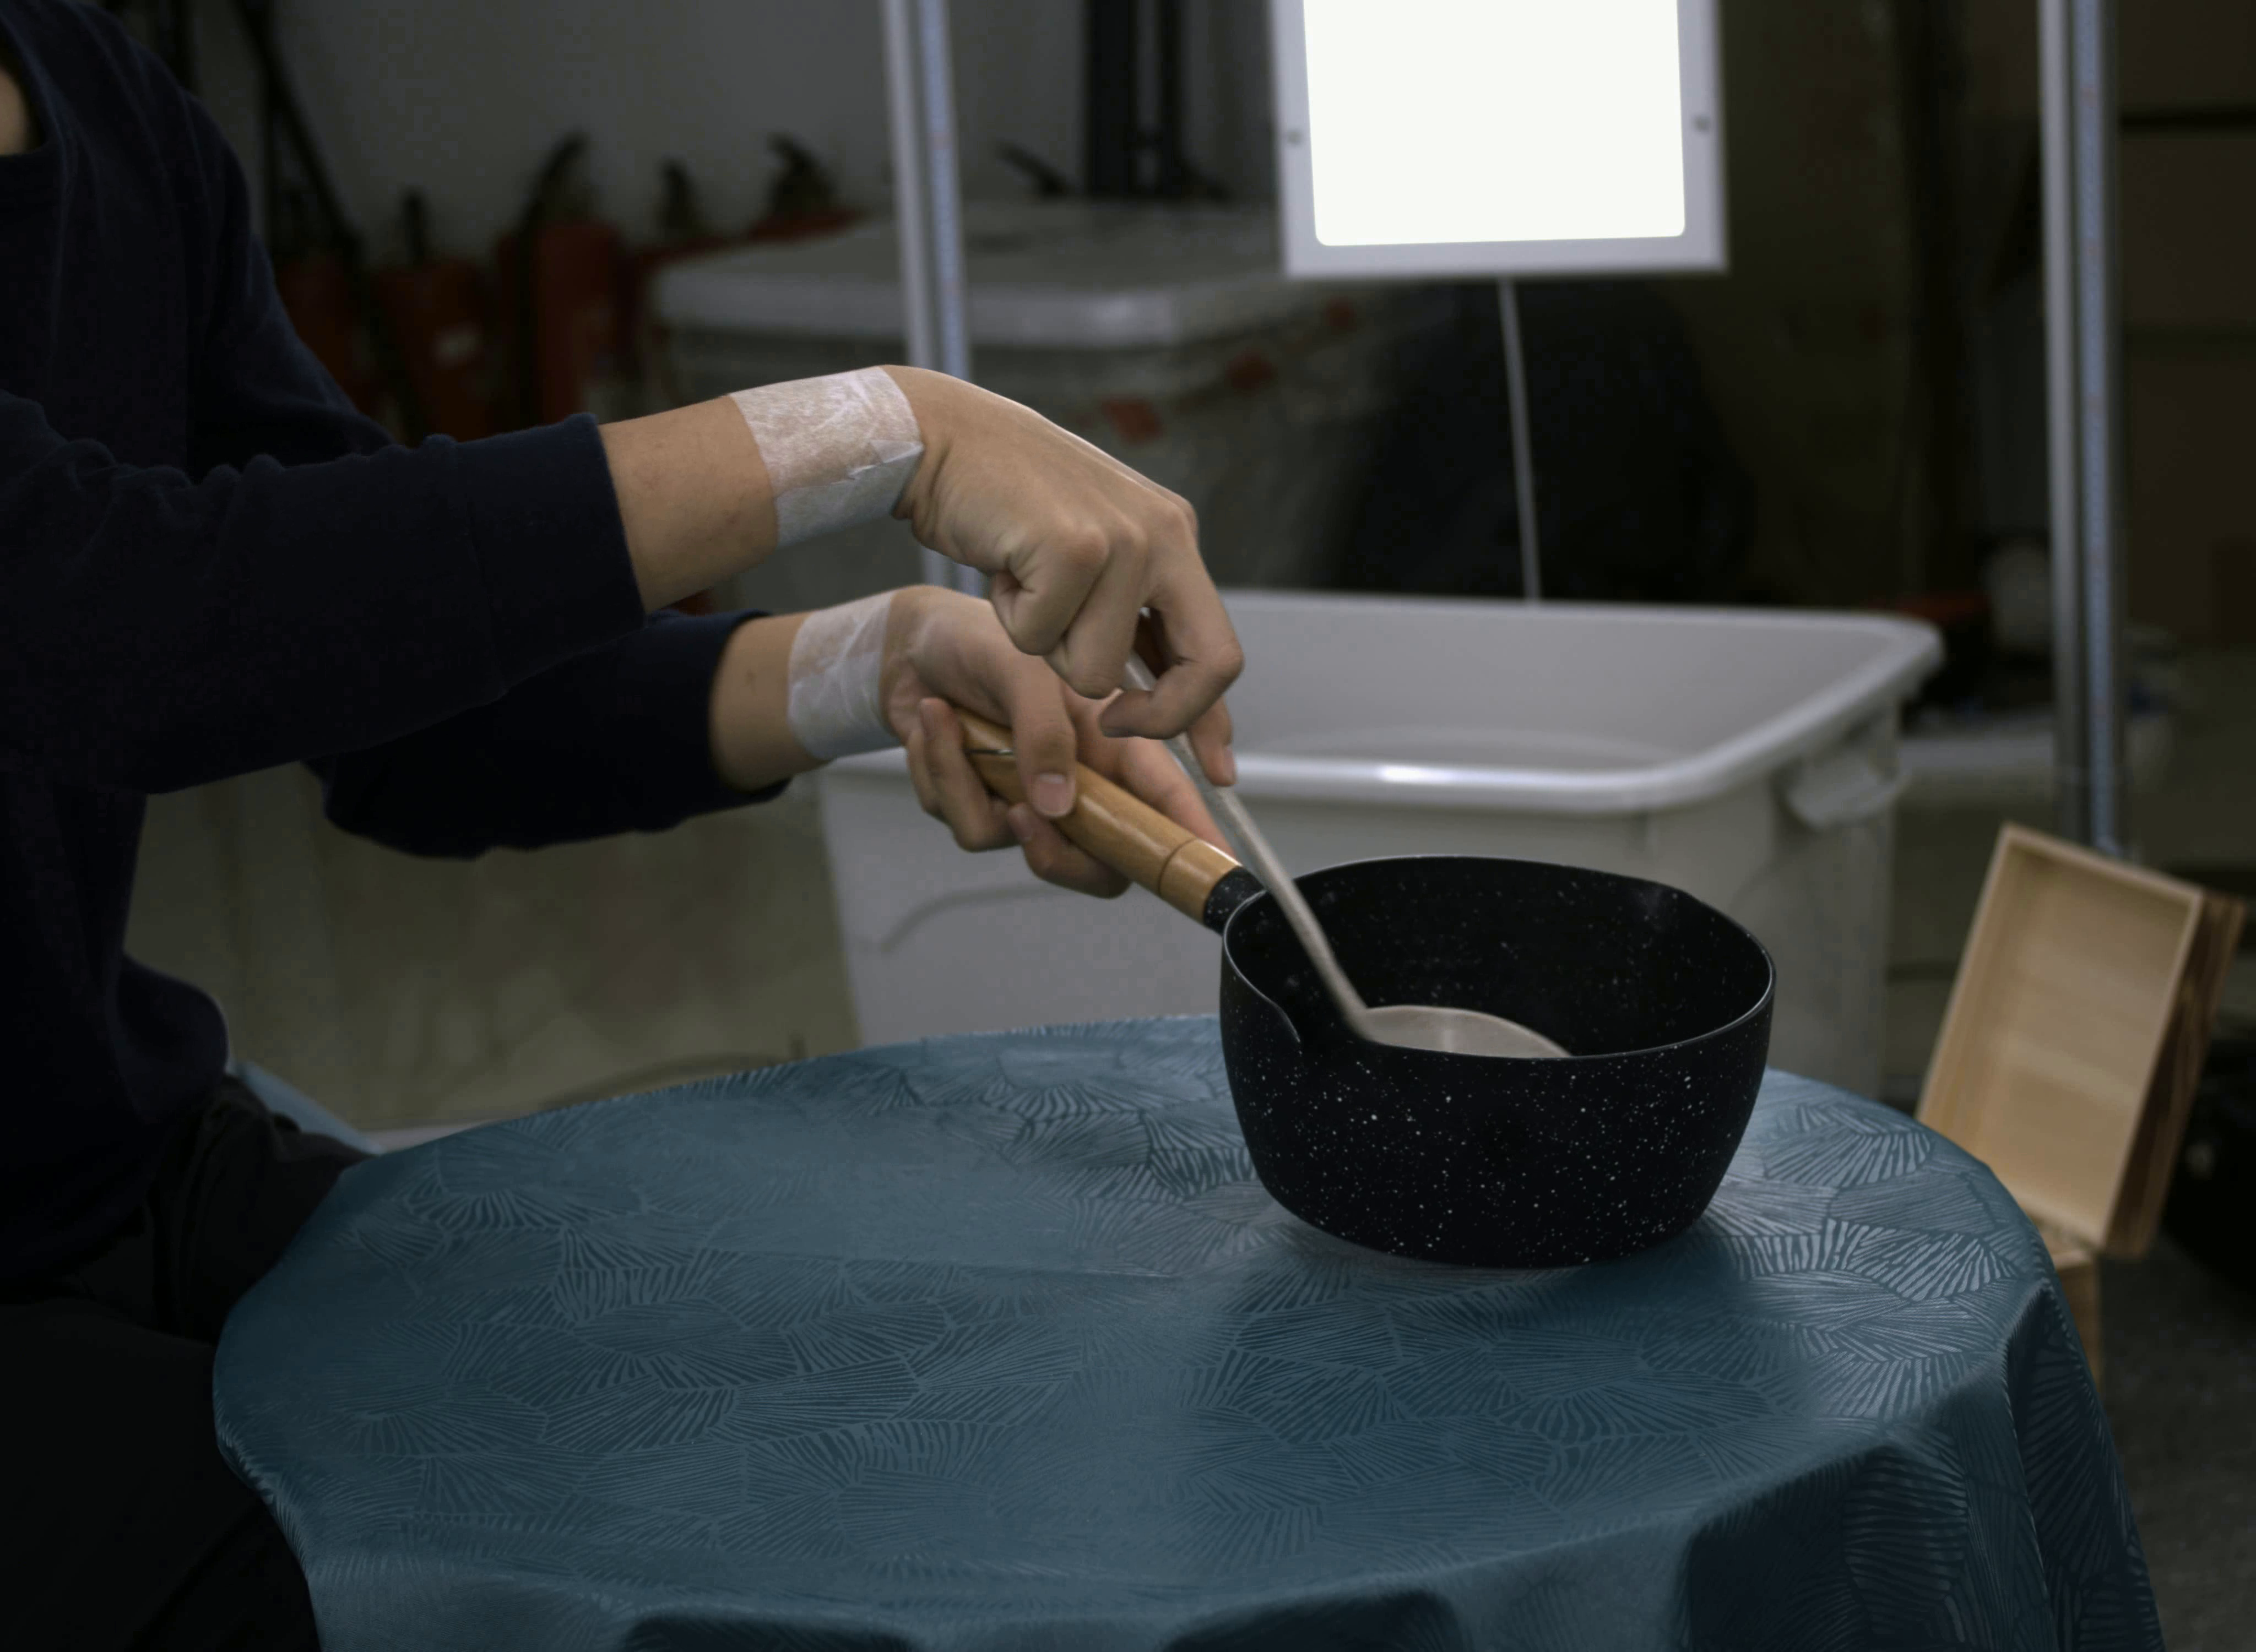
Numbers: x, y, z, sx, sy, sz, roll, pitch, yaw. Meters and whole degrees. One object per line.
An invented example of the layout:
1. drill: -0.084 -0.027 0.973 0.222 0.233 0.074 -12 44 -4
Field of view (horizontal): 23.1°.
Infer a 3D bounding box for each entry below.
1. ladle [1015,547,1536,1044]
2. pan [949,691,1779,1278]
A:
1. ladle: 0.058 0.003 1.793 0.070 0.273 0.089 -25 27 13
2. pan: 0.063 0.049 1.873 0.349 0.109 0.202 20 28 39
